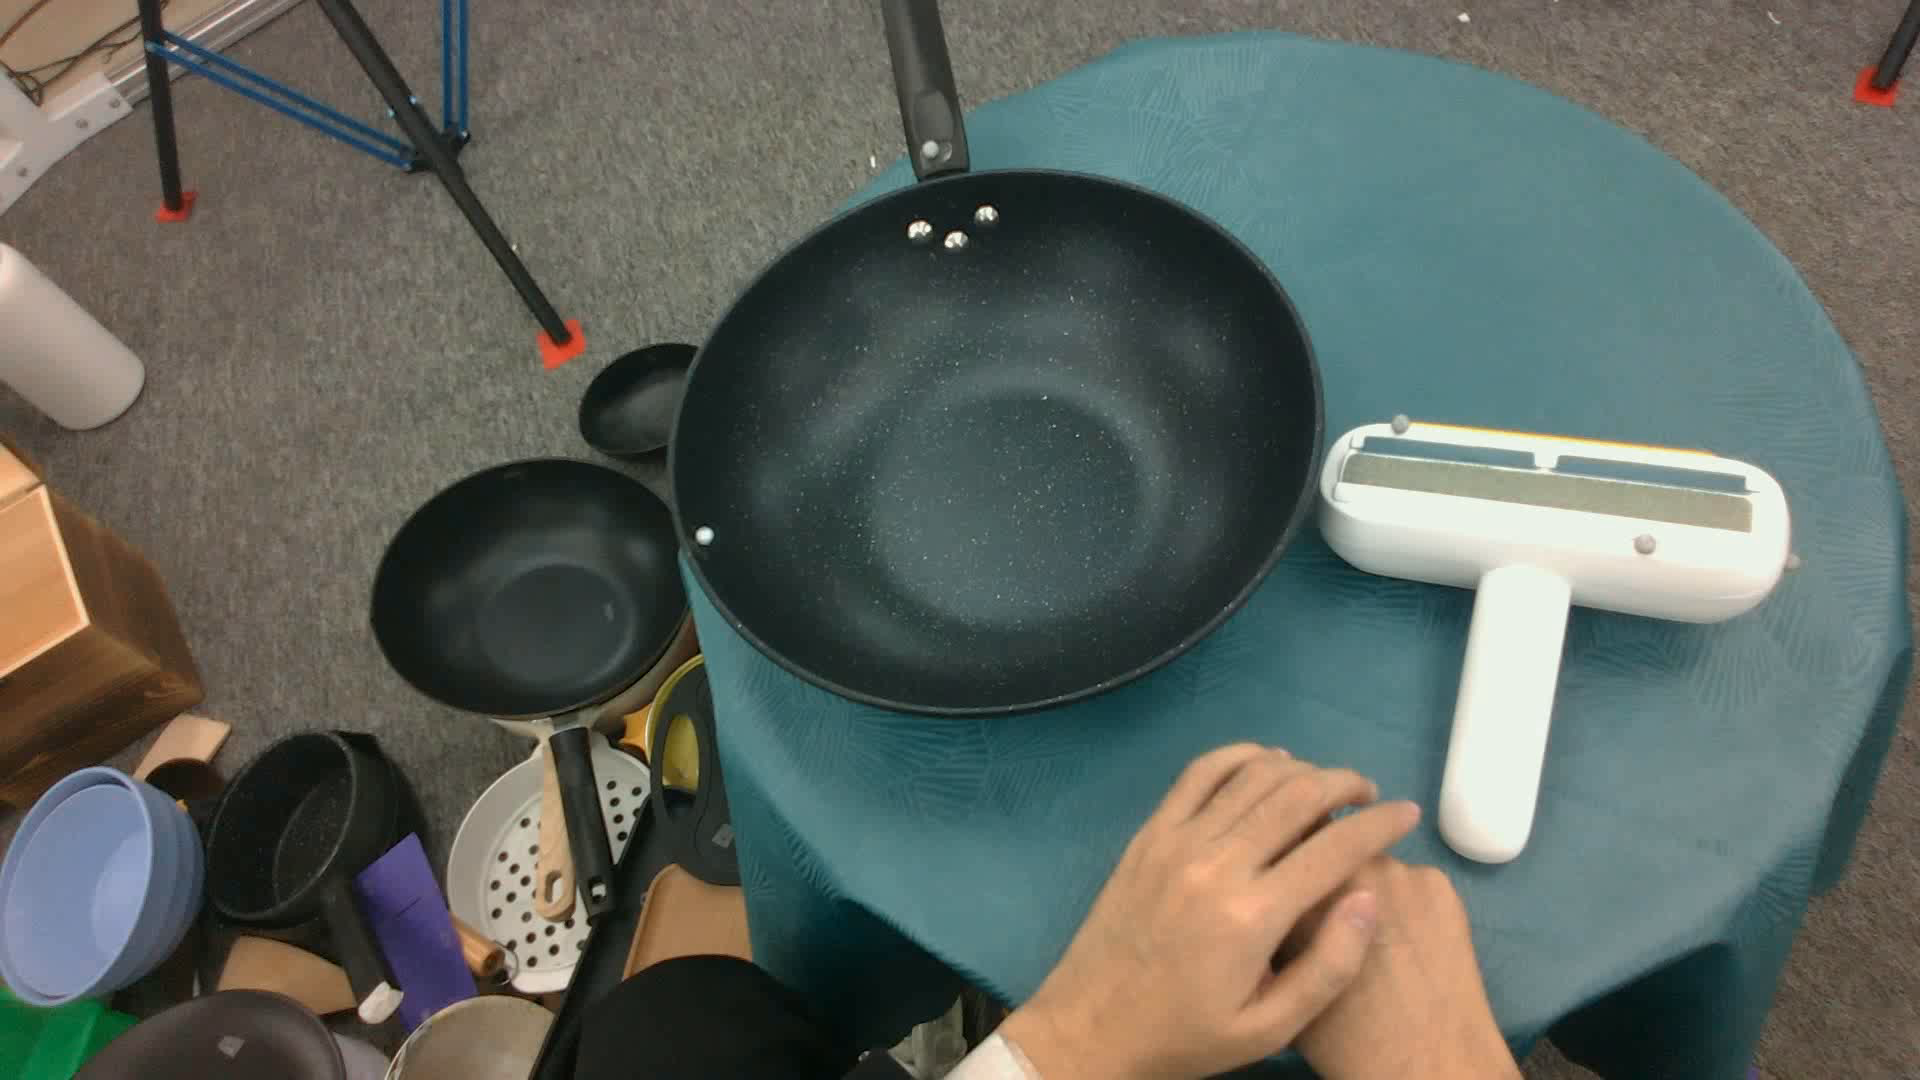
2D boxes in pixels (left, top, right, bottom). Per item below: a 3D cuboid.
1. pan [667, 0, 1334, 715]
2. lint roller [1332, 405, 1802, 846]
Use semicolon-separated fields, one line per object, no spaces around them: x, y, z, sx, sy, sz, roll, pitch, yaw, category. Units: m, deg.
0.008;-0.122;0.706;0.310;0.111;0.478;-9;60;2;pan
0.243;0.038;0.601;0.192;0.074;0.193;16;66;23;lint roller
